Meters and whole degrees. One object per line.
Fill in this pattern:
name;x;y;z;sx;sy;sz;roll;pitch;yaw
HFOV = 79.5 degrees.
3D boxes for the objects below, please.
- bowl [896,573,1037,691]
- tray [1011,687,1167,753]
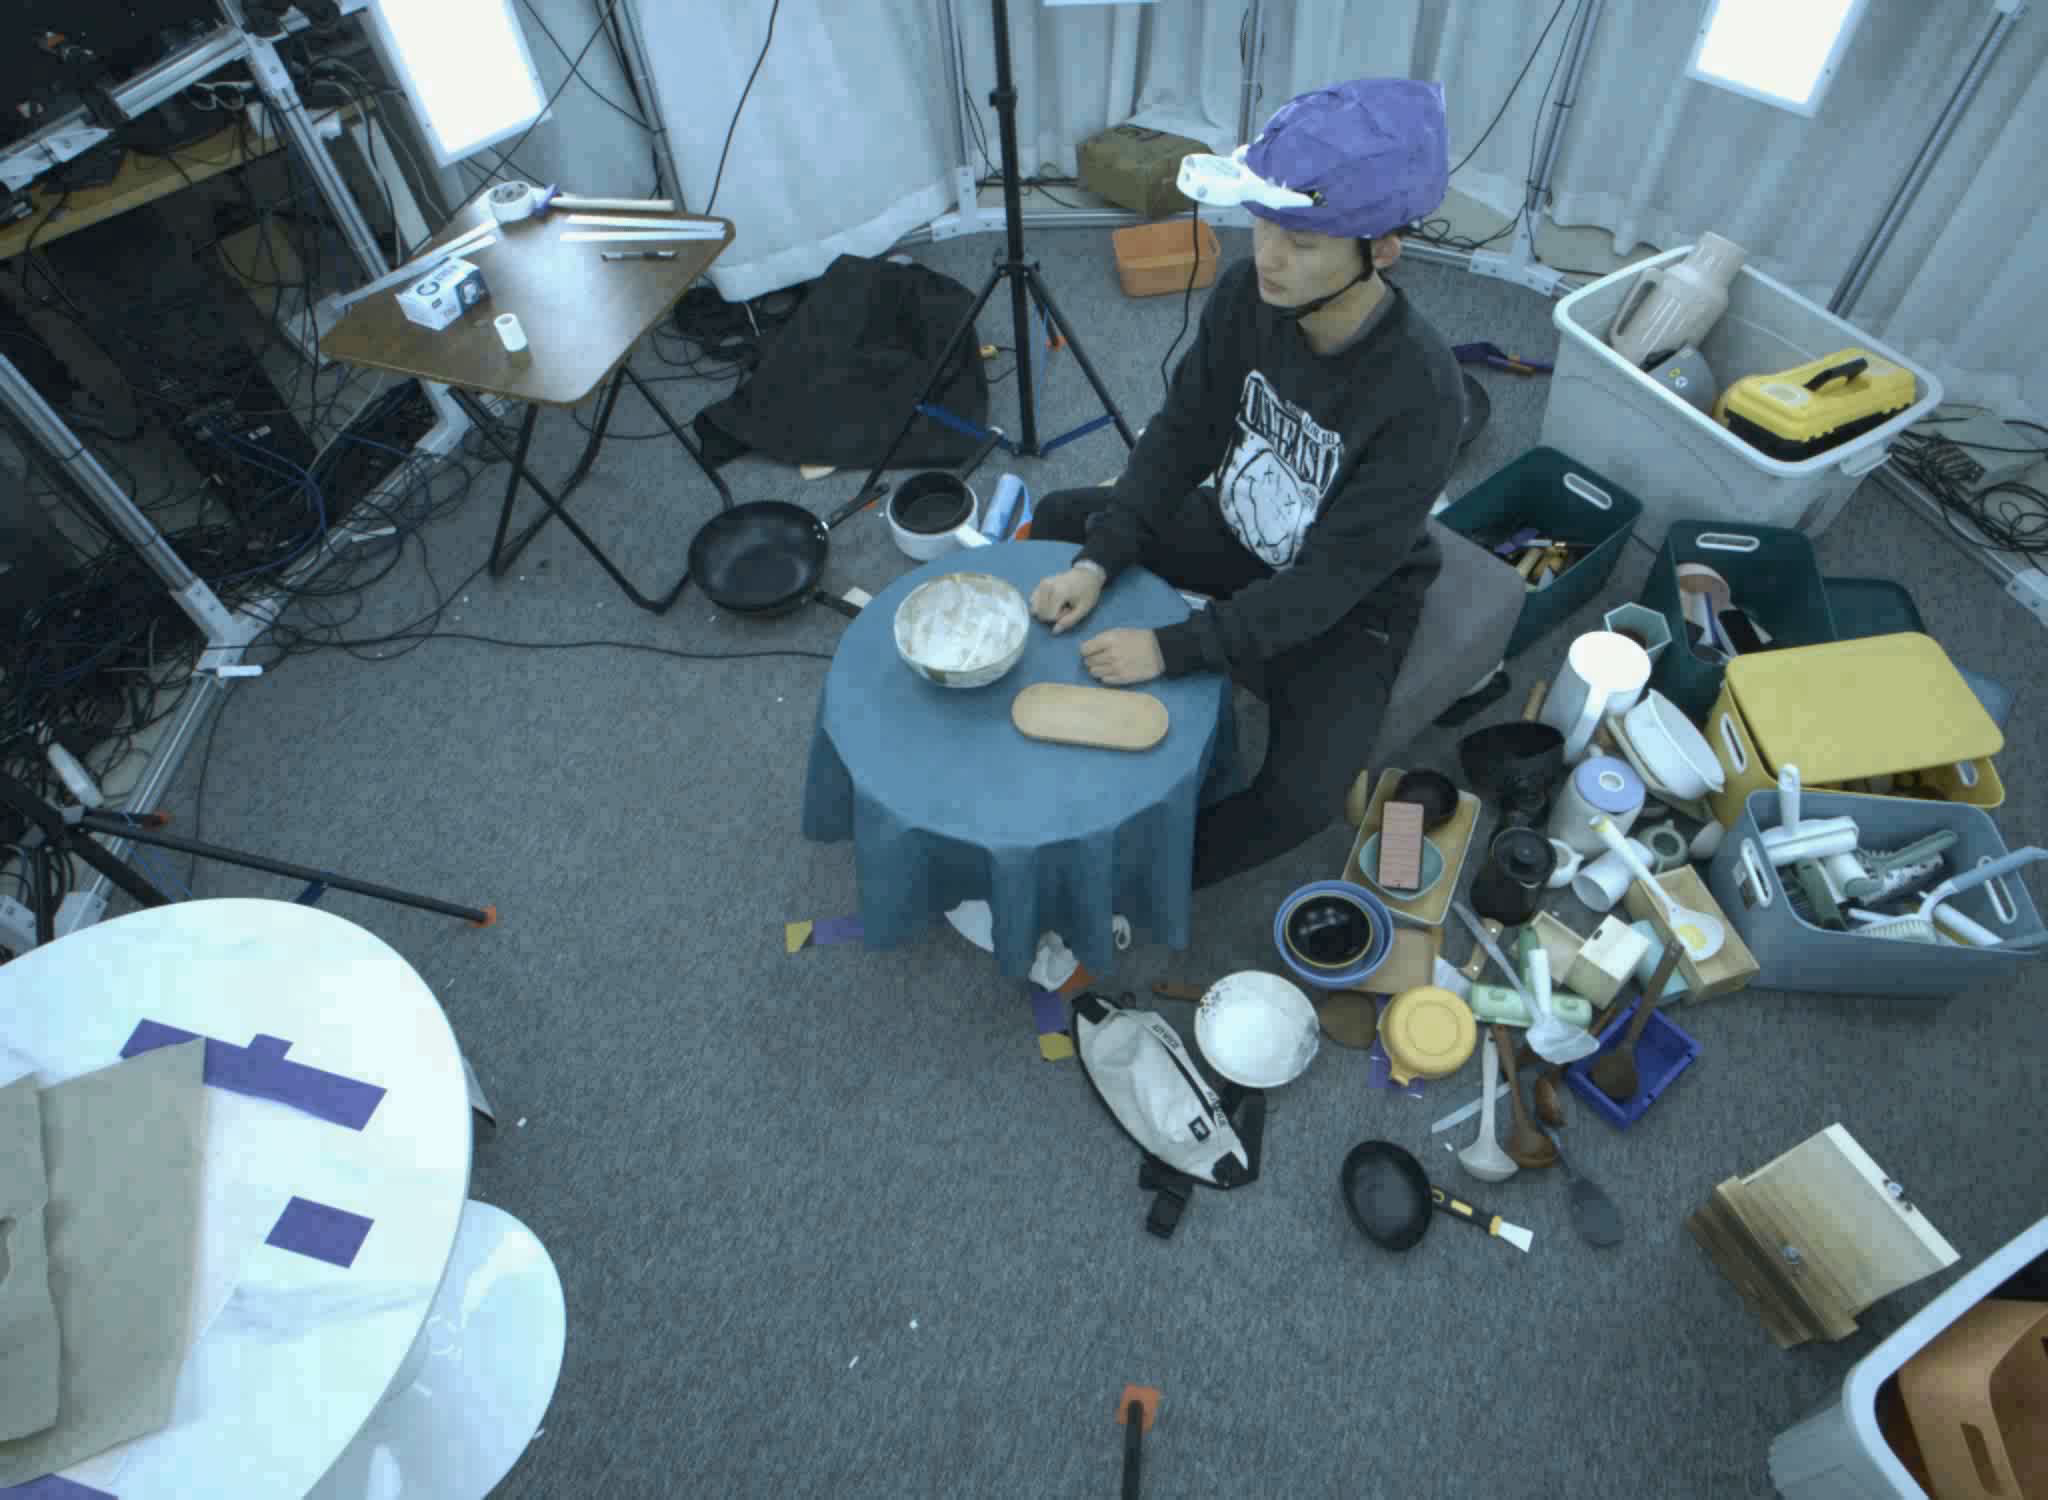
bowl;-0.084;-0.160;1.856;0.214;0.095;0.212;-1;54;2
tray;0.096;-0.043;1.816;0.230;0.020;0.101;5;53;8
